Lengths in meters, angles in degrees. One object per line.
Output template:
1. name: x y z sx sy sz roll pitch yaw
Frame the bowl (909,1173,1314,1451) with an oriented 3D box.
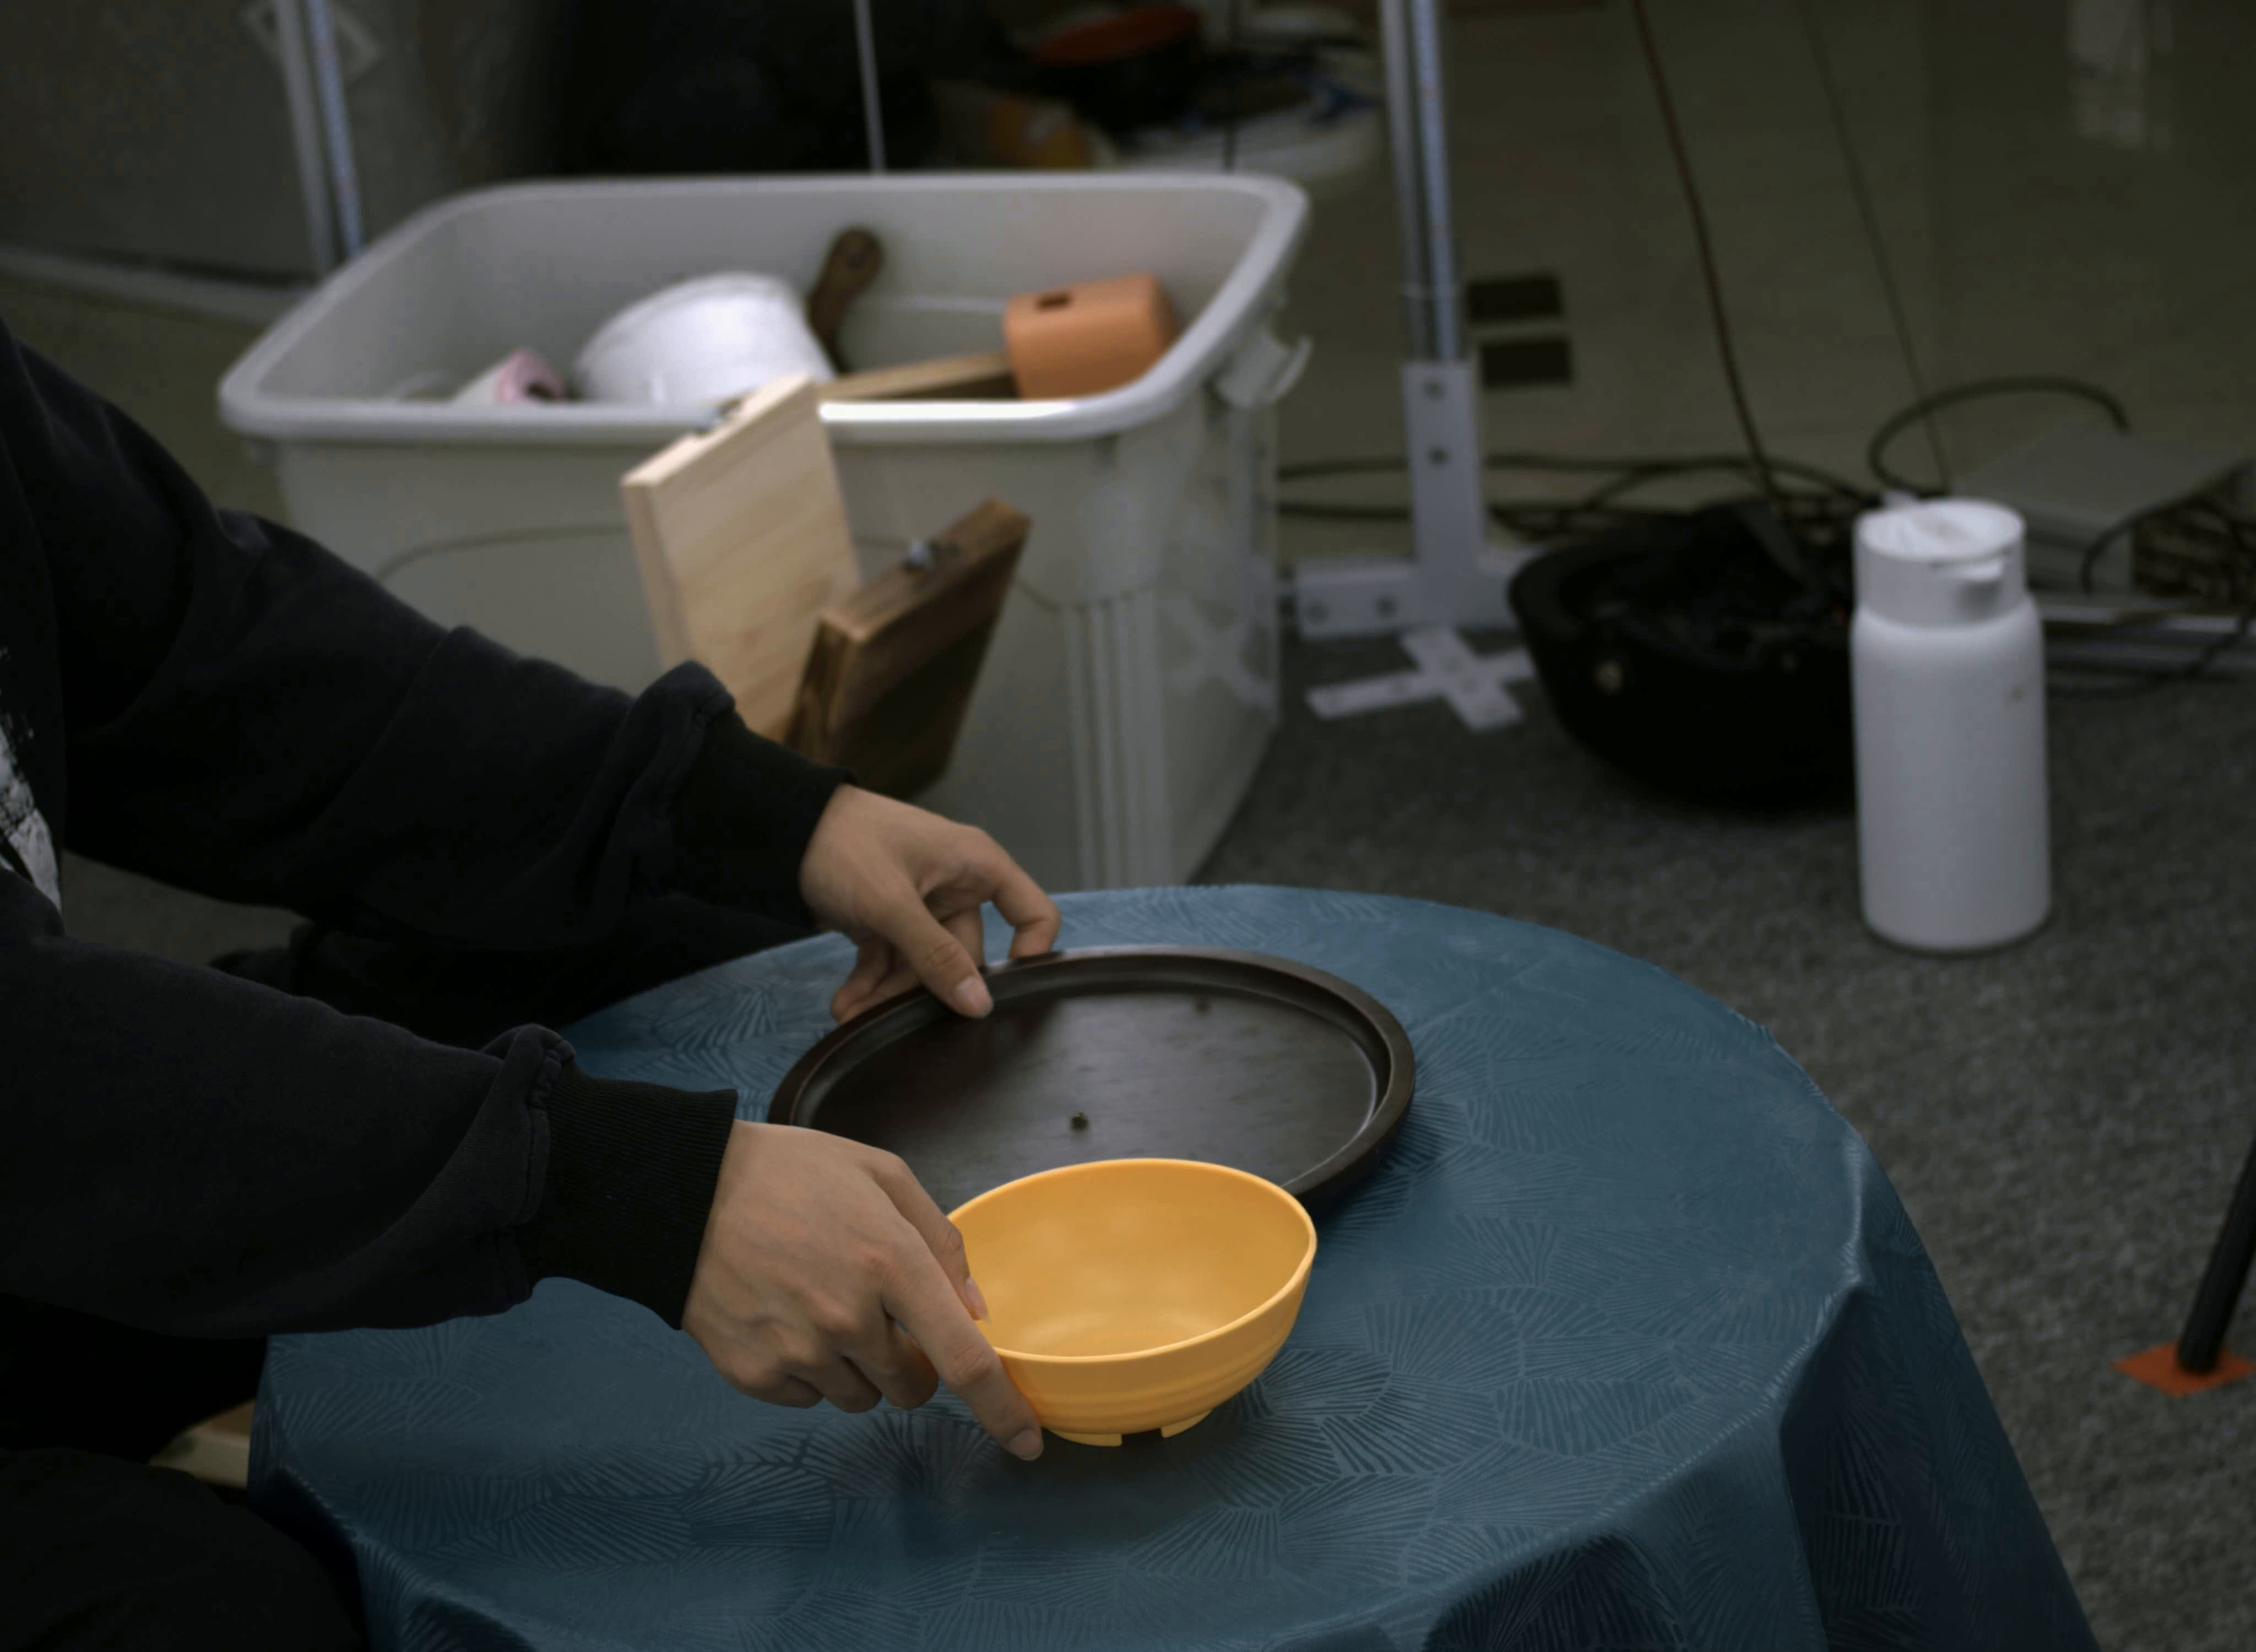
1. bowl: -0.002 0.179 2.001 0.145 0.061 0.143 -6 23 3

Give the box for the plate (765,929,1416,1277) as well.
1. plate: -0.014 0.111 2.189 0.254 0.029 0.251 -6 26 3
